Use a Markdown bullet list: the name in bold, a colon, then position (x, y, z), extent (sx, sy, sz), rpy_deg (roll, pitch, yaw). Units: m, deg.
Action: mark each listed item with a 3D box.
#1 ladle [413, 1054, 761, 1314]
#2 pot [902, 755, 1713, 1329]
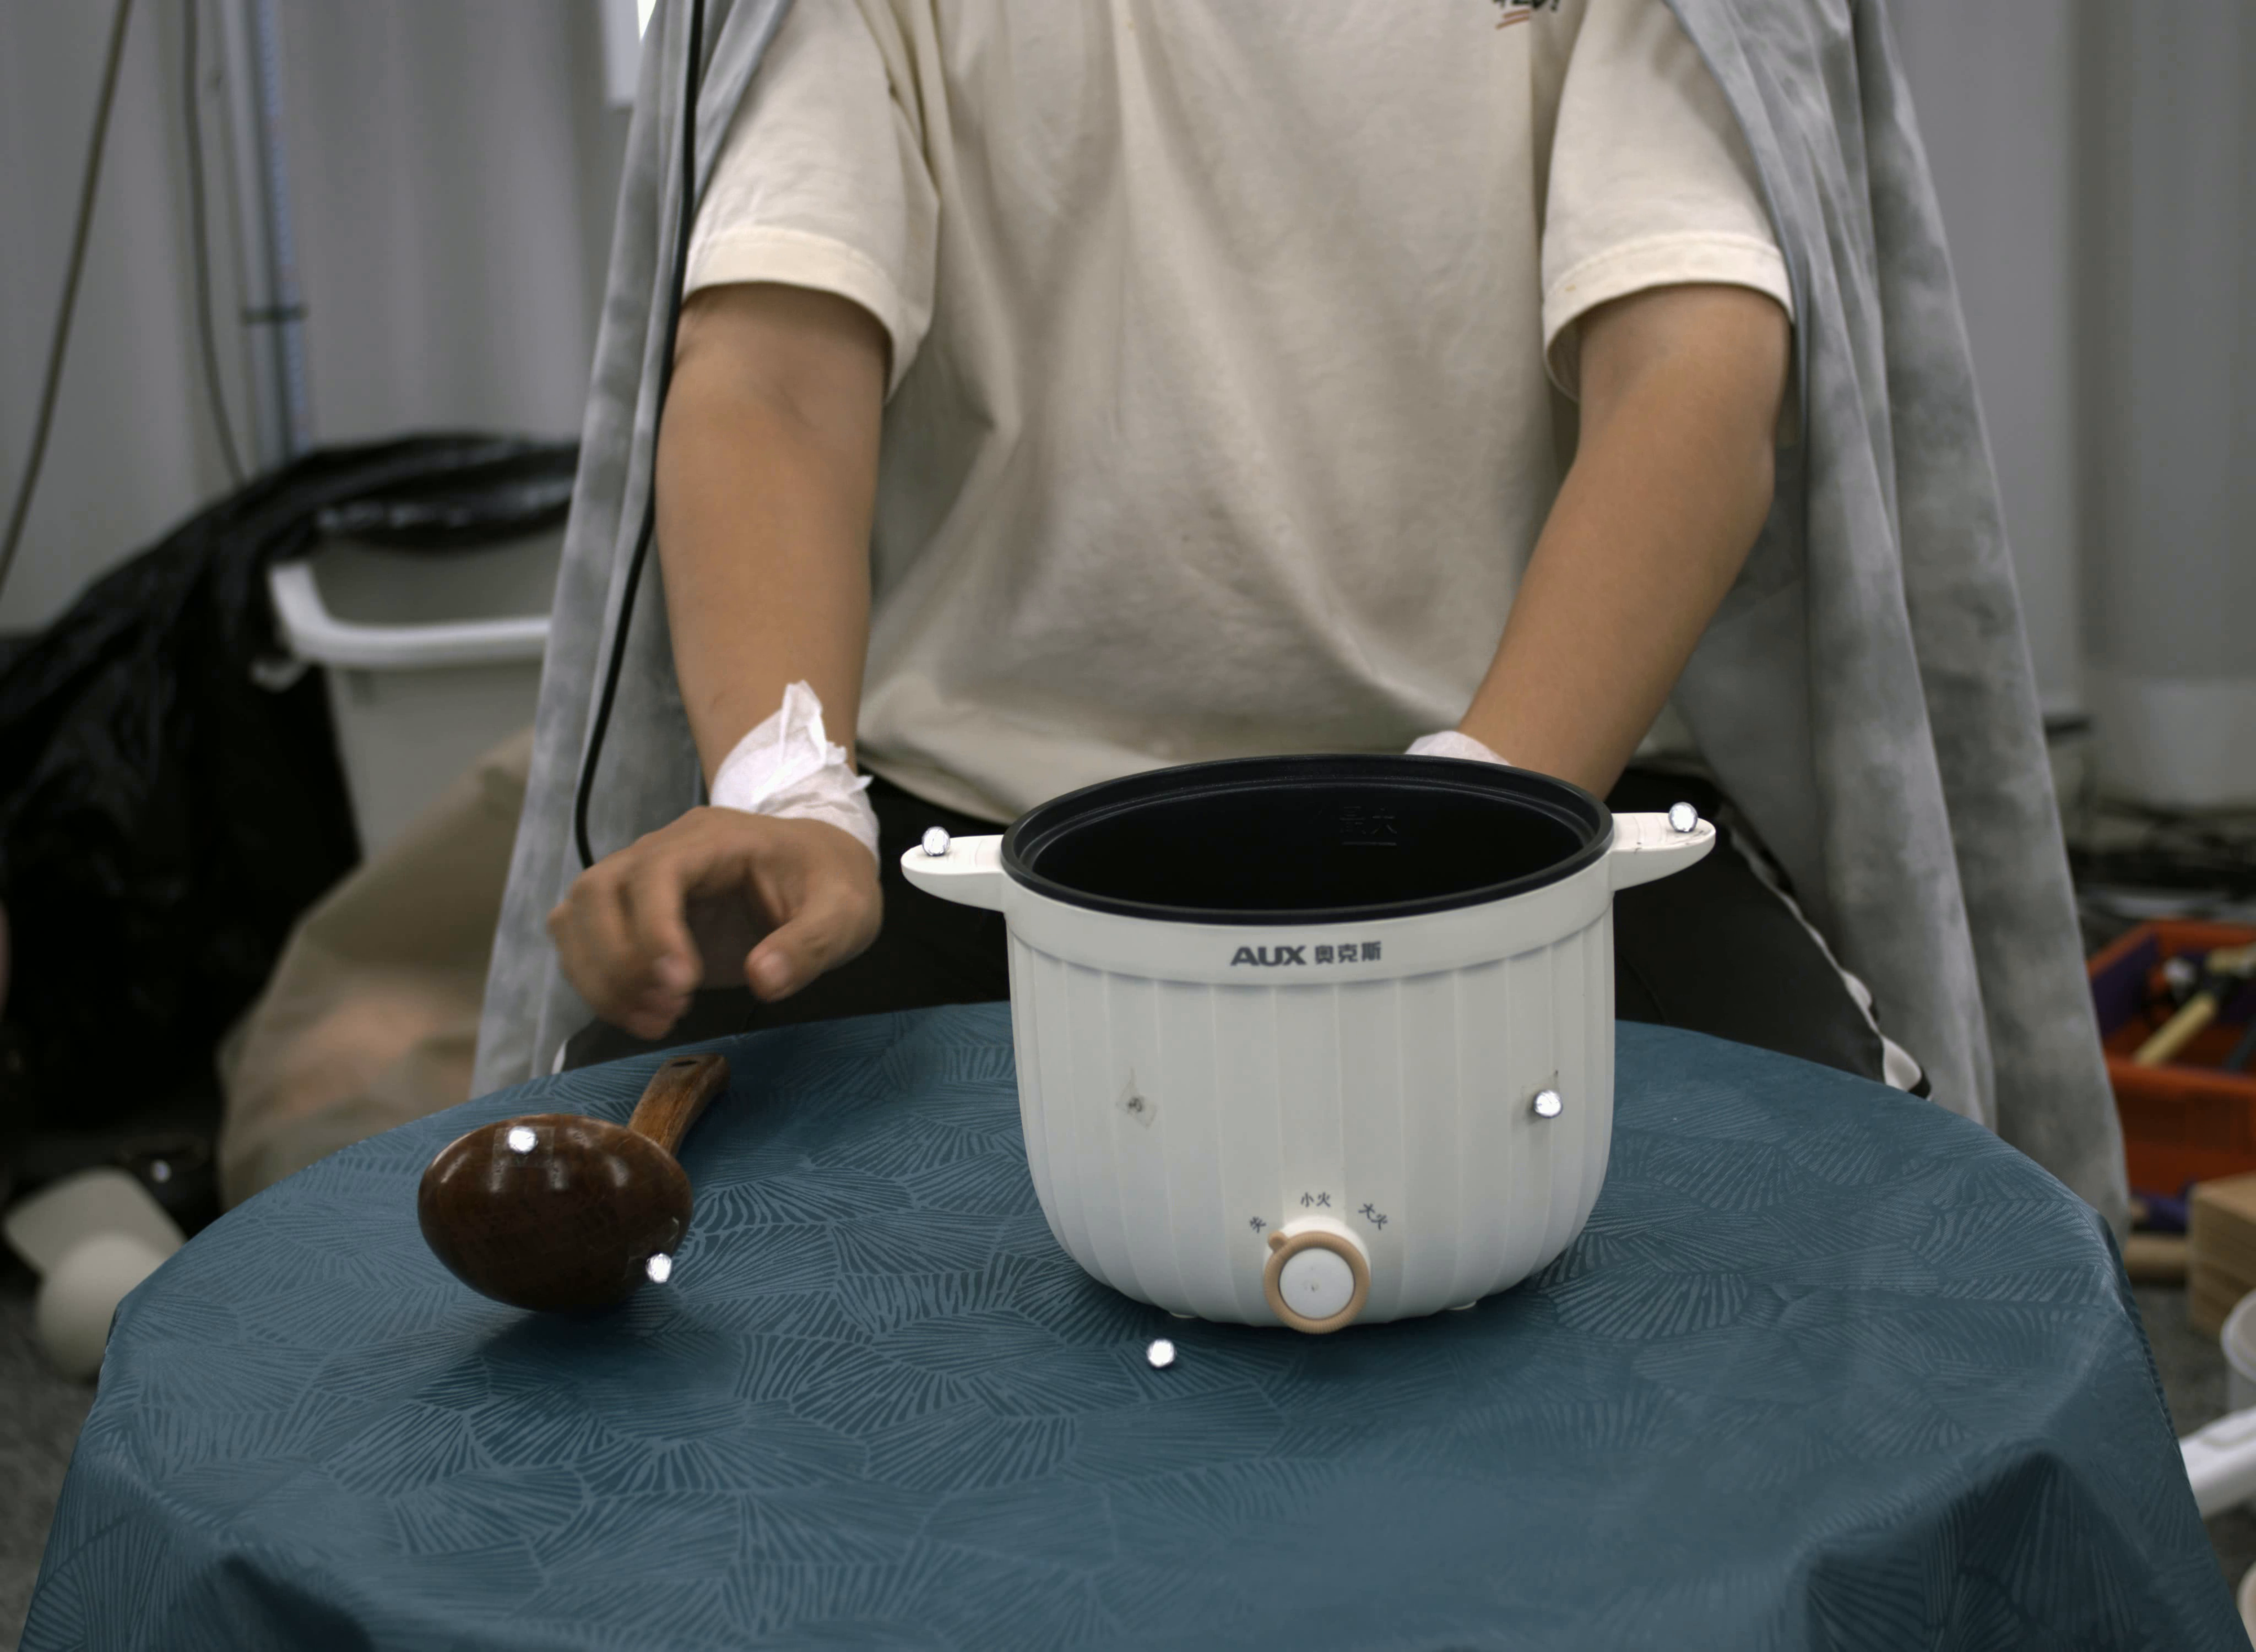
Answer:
- **ladle**: position (-0.157, 0.087, 1.706), extent (0.082, 0.076, 0.275), rpy_deg (-4, 15, 8)
- **pot**: position (0.056, 0.066, 1.622), extent (0.240, 0.142, 0.191), rpy_deg (-3, 11, 3)
